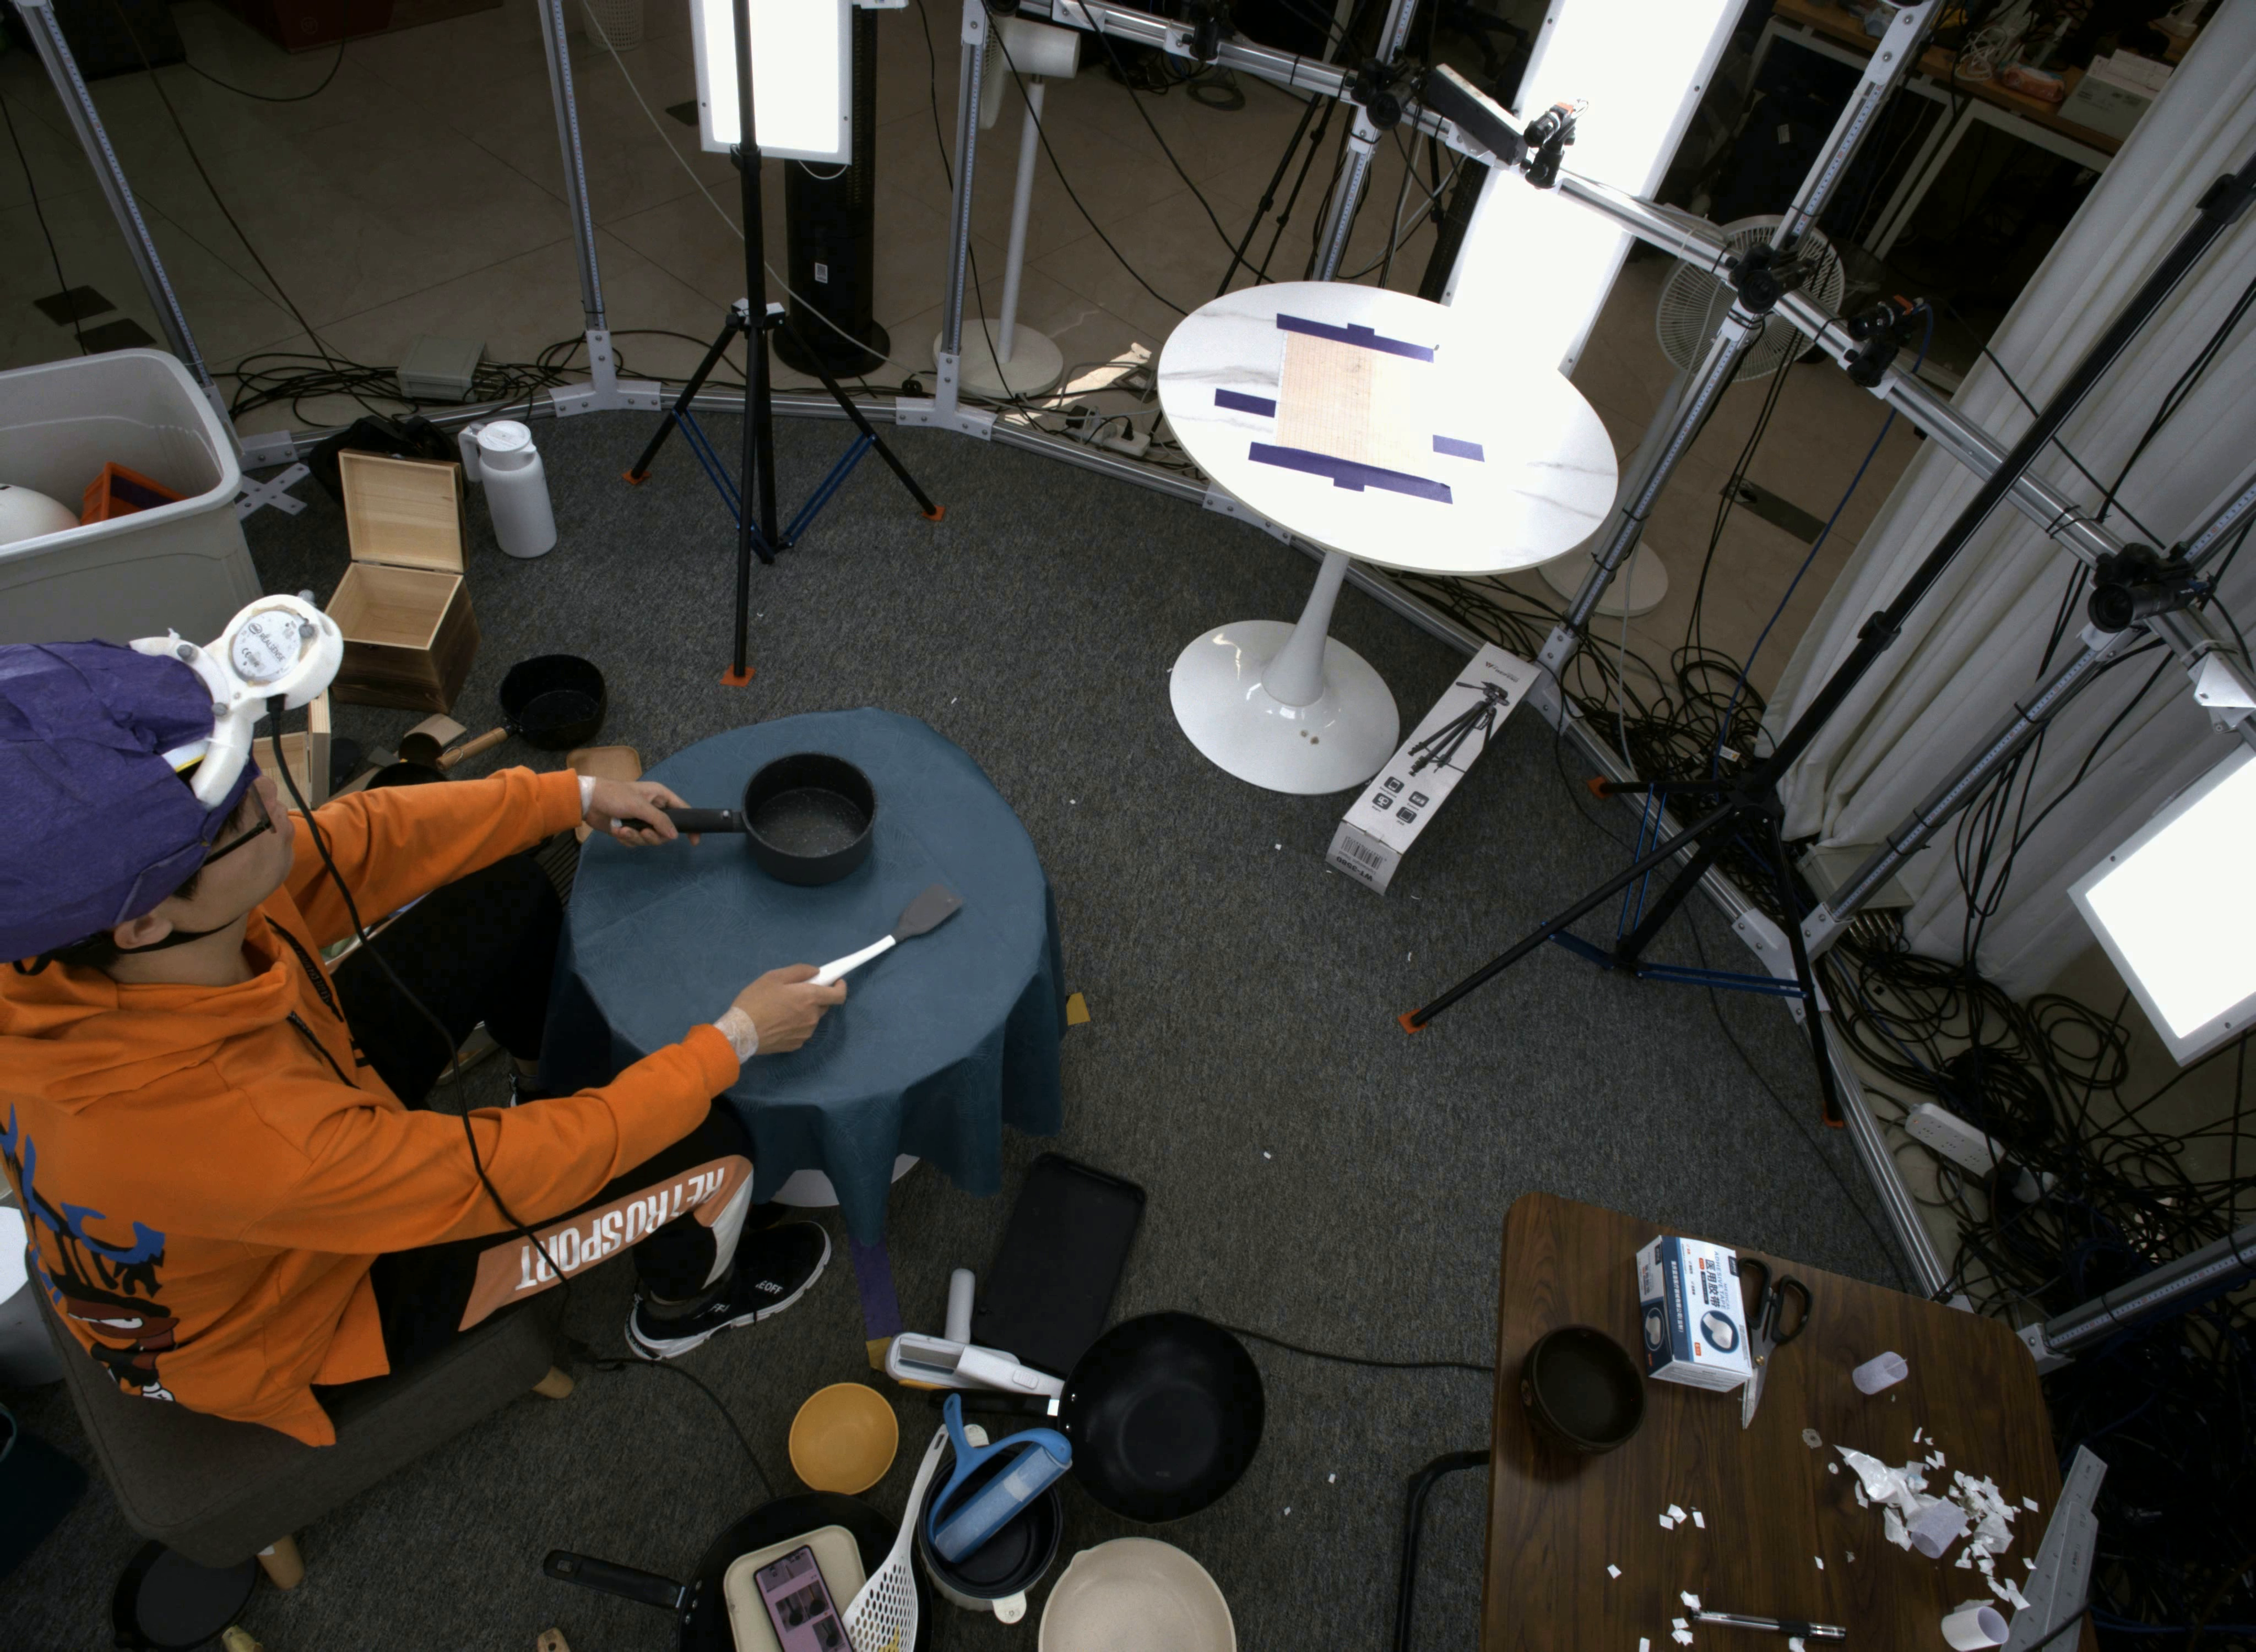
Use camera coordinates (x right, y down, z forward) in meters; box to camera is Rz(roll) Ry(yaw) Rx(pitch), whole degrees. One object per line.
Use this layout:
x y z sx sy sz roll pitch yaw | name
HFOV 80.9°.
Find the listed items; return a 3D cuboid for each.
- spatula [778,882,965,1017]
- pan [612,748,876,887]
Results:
-0.312 0.147 1.598 0.057 0.033 0.288 27 38 24 | spatula
-0.487 -0.006 1.643 0.331 0.088 0.168 -3 54 -21 | pan
